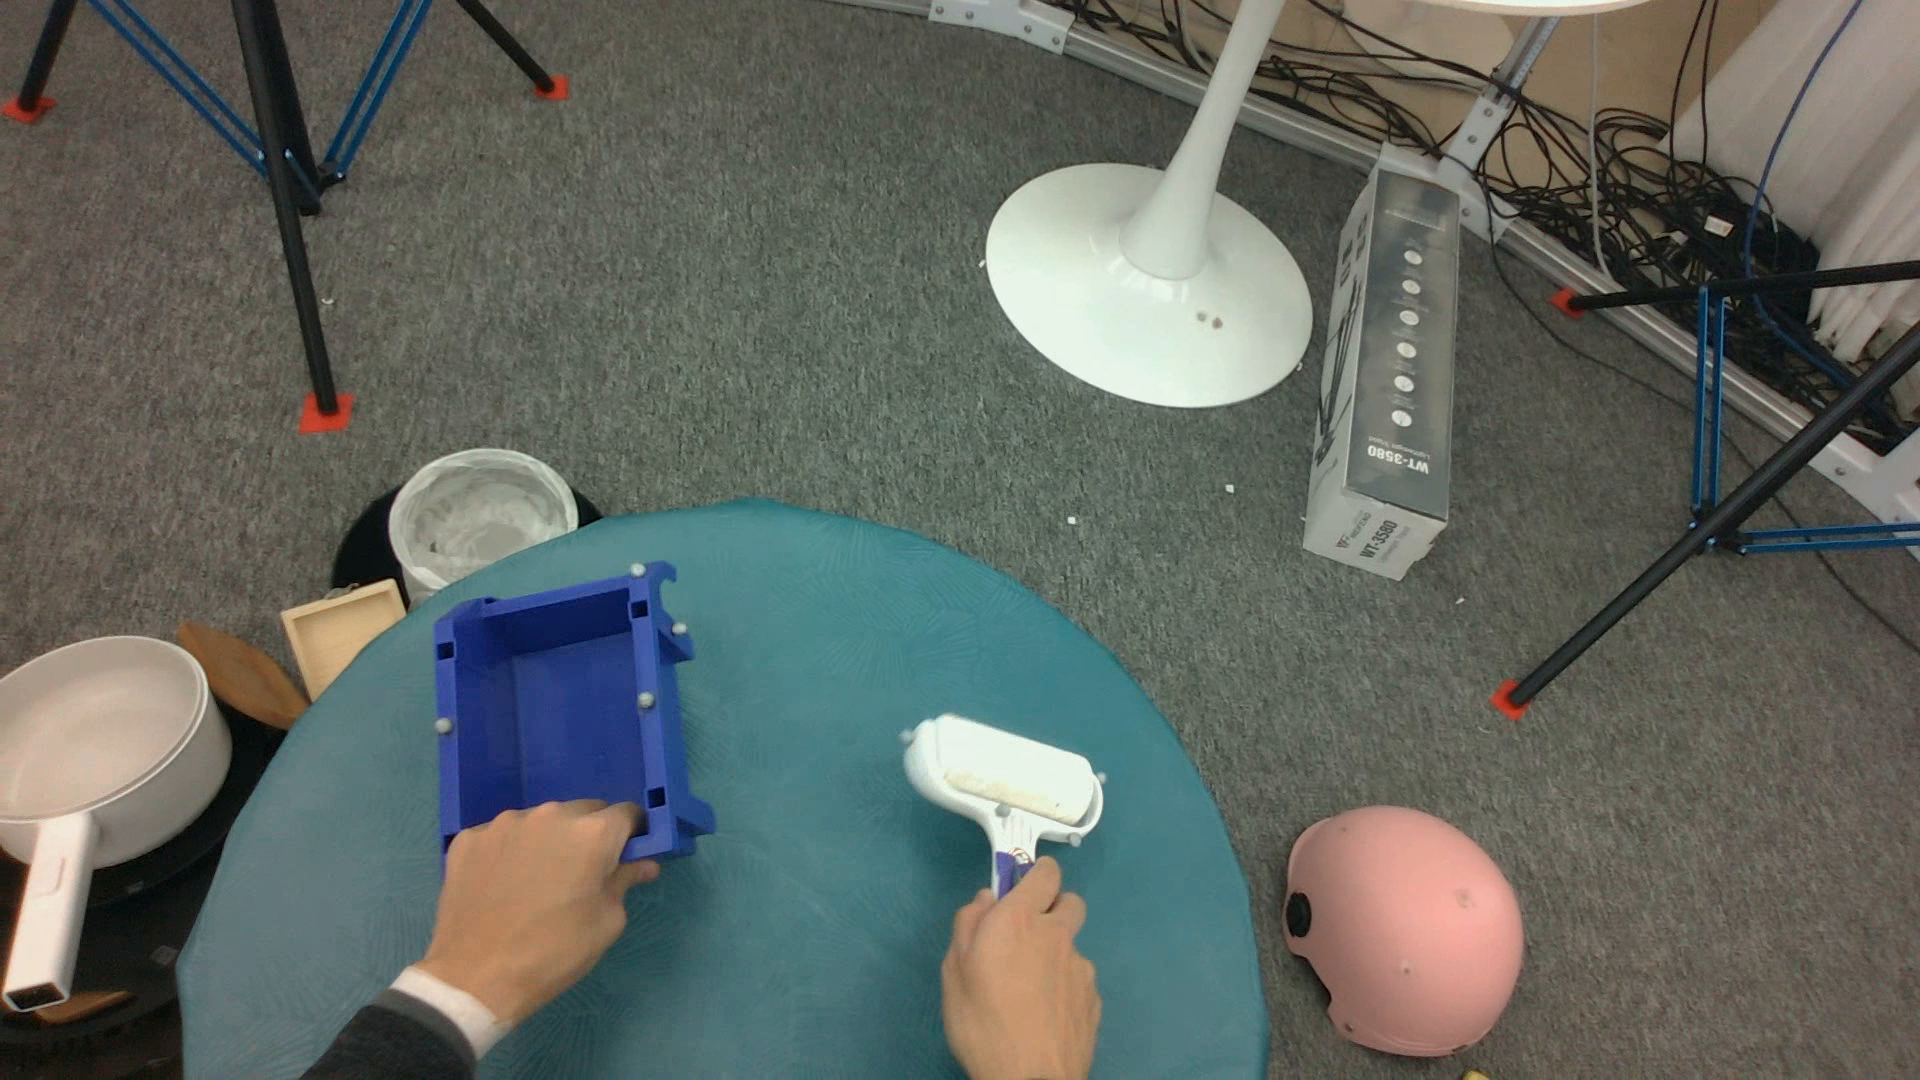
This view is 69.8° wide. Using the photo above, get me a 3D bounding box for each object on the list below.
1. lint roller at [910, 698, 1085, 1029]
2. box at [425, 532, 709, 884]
[{"bbox_3d":[0.033,0.178,0.769,0.133,0.050,0.181,34,29,-36],"label":"lint roller"},{"bbox_3d":[-0.217,0.089,0.755,0.124,0.082,0.180,-14,71,8],"label":"box"}]
